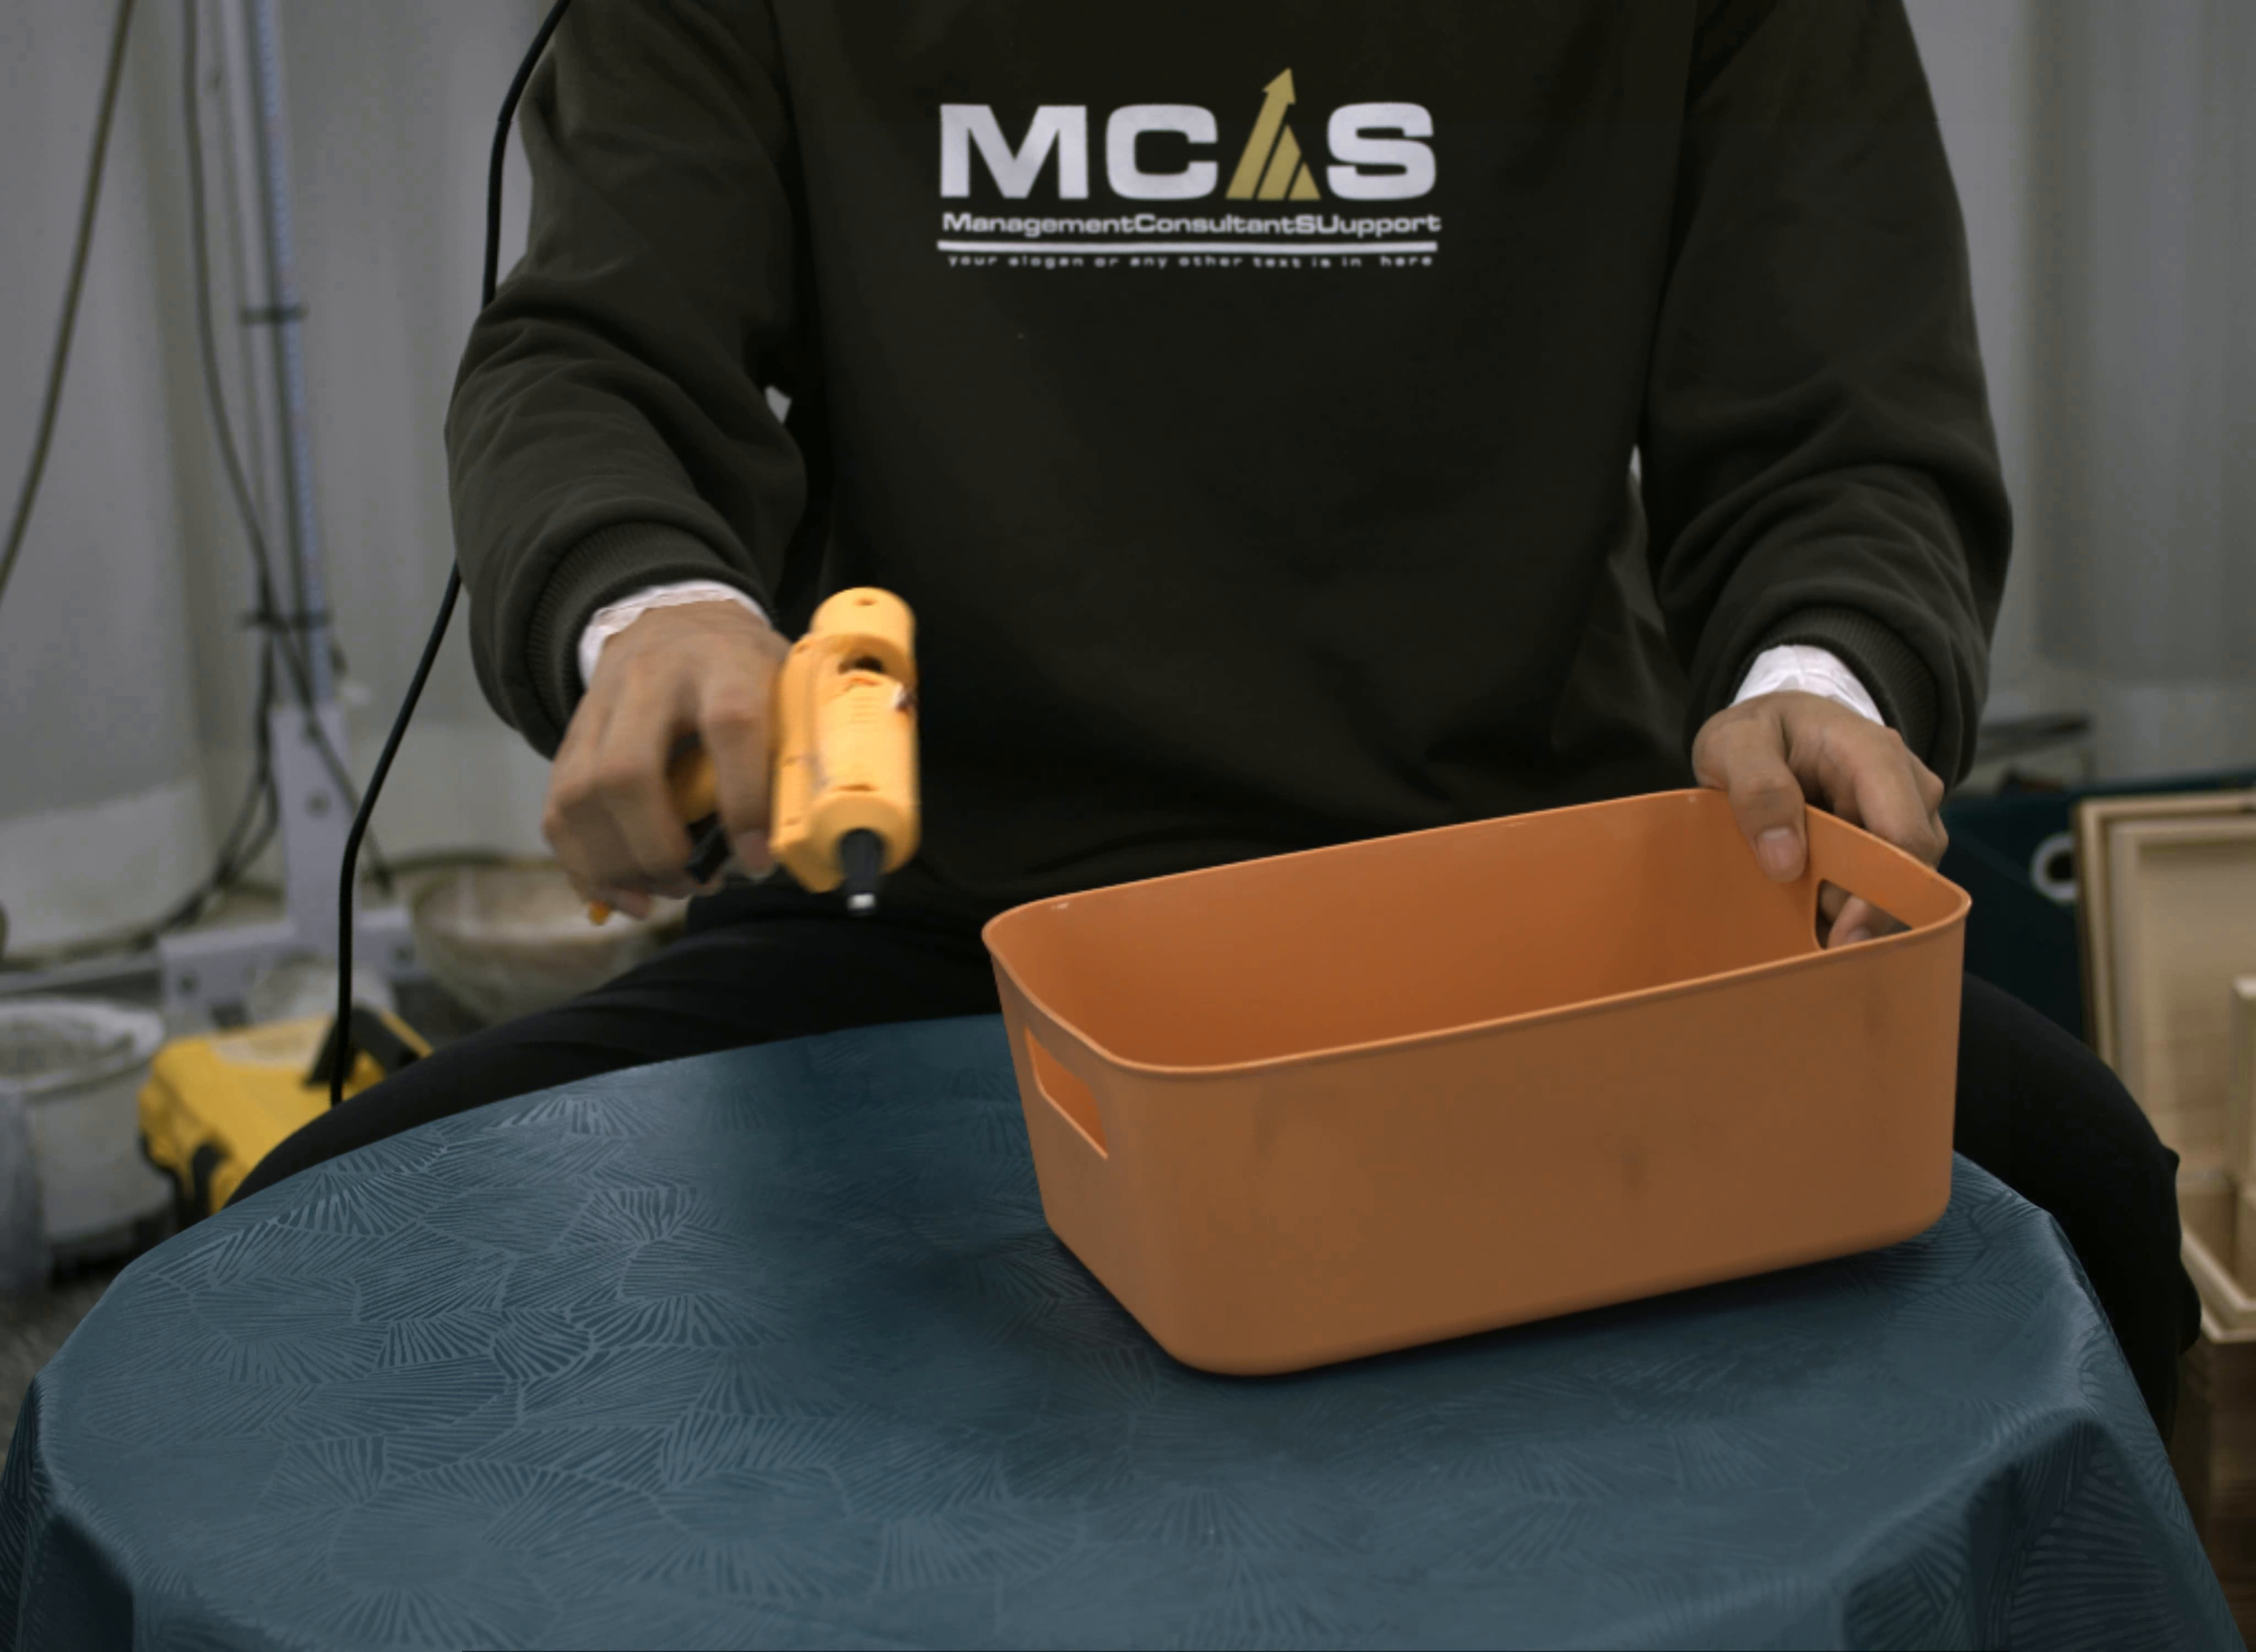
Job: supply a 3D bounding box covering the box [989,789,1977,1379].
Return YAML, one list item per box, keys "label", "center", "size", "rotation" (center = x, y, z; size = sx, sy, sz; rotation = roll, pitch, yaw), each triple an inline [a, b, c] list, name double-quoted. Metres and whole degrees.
- label: "box"
  center: [0.106, 0.075, 1.636]
  size: [0.272, 0.102, 0.201]
  rotation: [-11, 15, -15]

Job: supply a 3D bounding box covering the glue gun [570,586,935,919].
- label: "glue gun"
  center: [-0.107, 0.006, 1.591]
  size: [0.132, 0.031, 0.153]
  rotation: [-35, 28, 13]
